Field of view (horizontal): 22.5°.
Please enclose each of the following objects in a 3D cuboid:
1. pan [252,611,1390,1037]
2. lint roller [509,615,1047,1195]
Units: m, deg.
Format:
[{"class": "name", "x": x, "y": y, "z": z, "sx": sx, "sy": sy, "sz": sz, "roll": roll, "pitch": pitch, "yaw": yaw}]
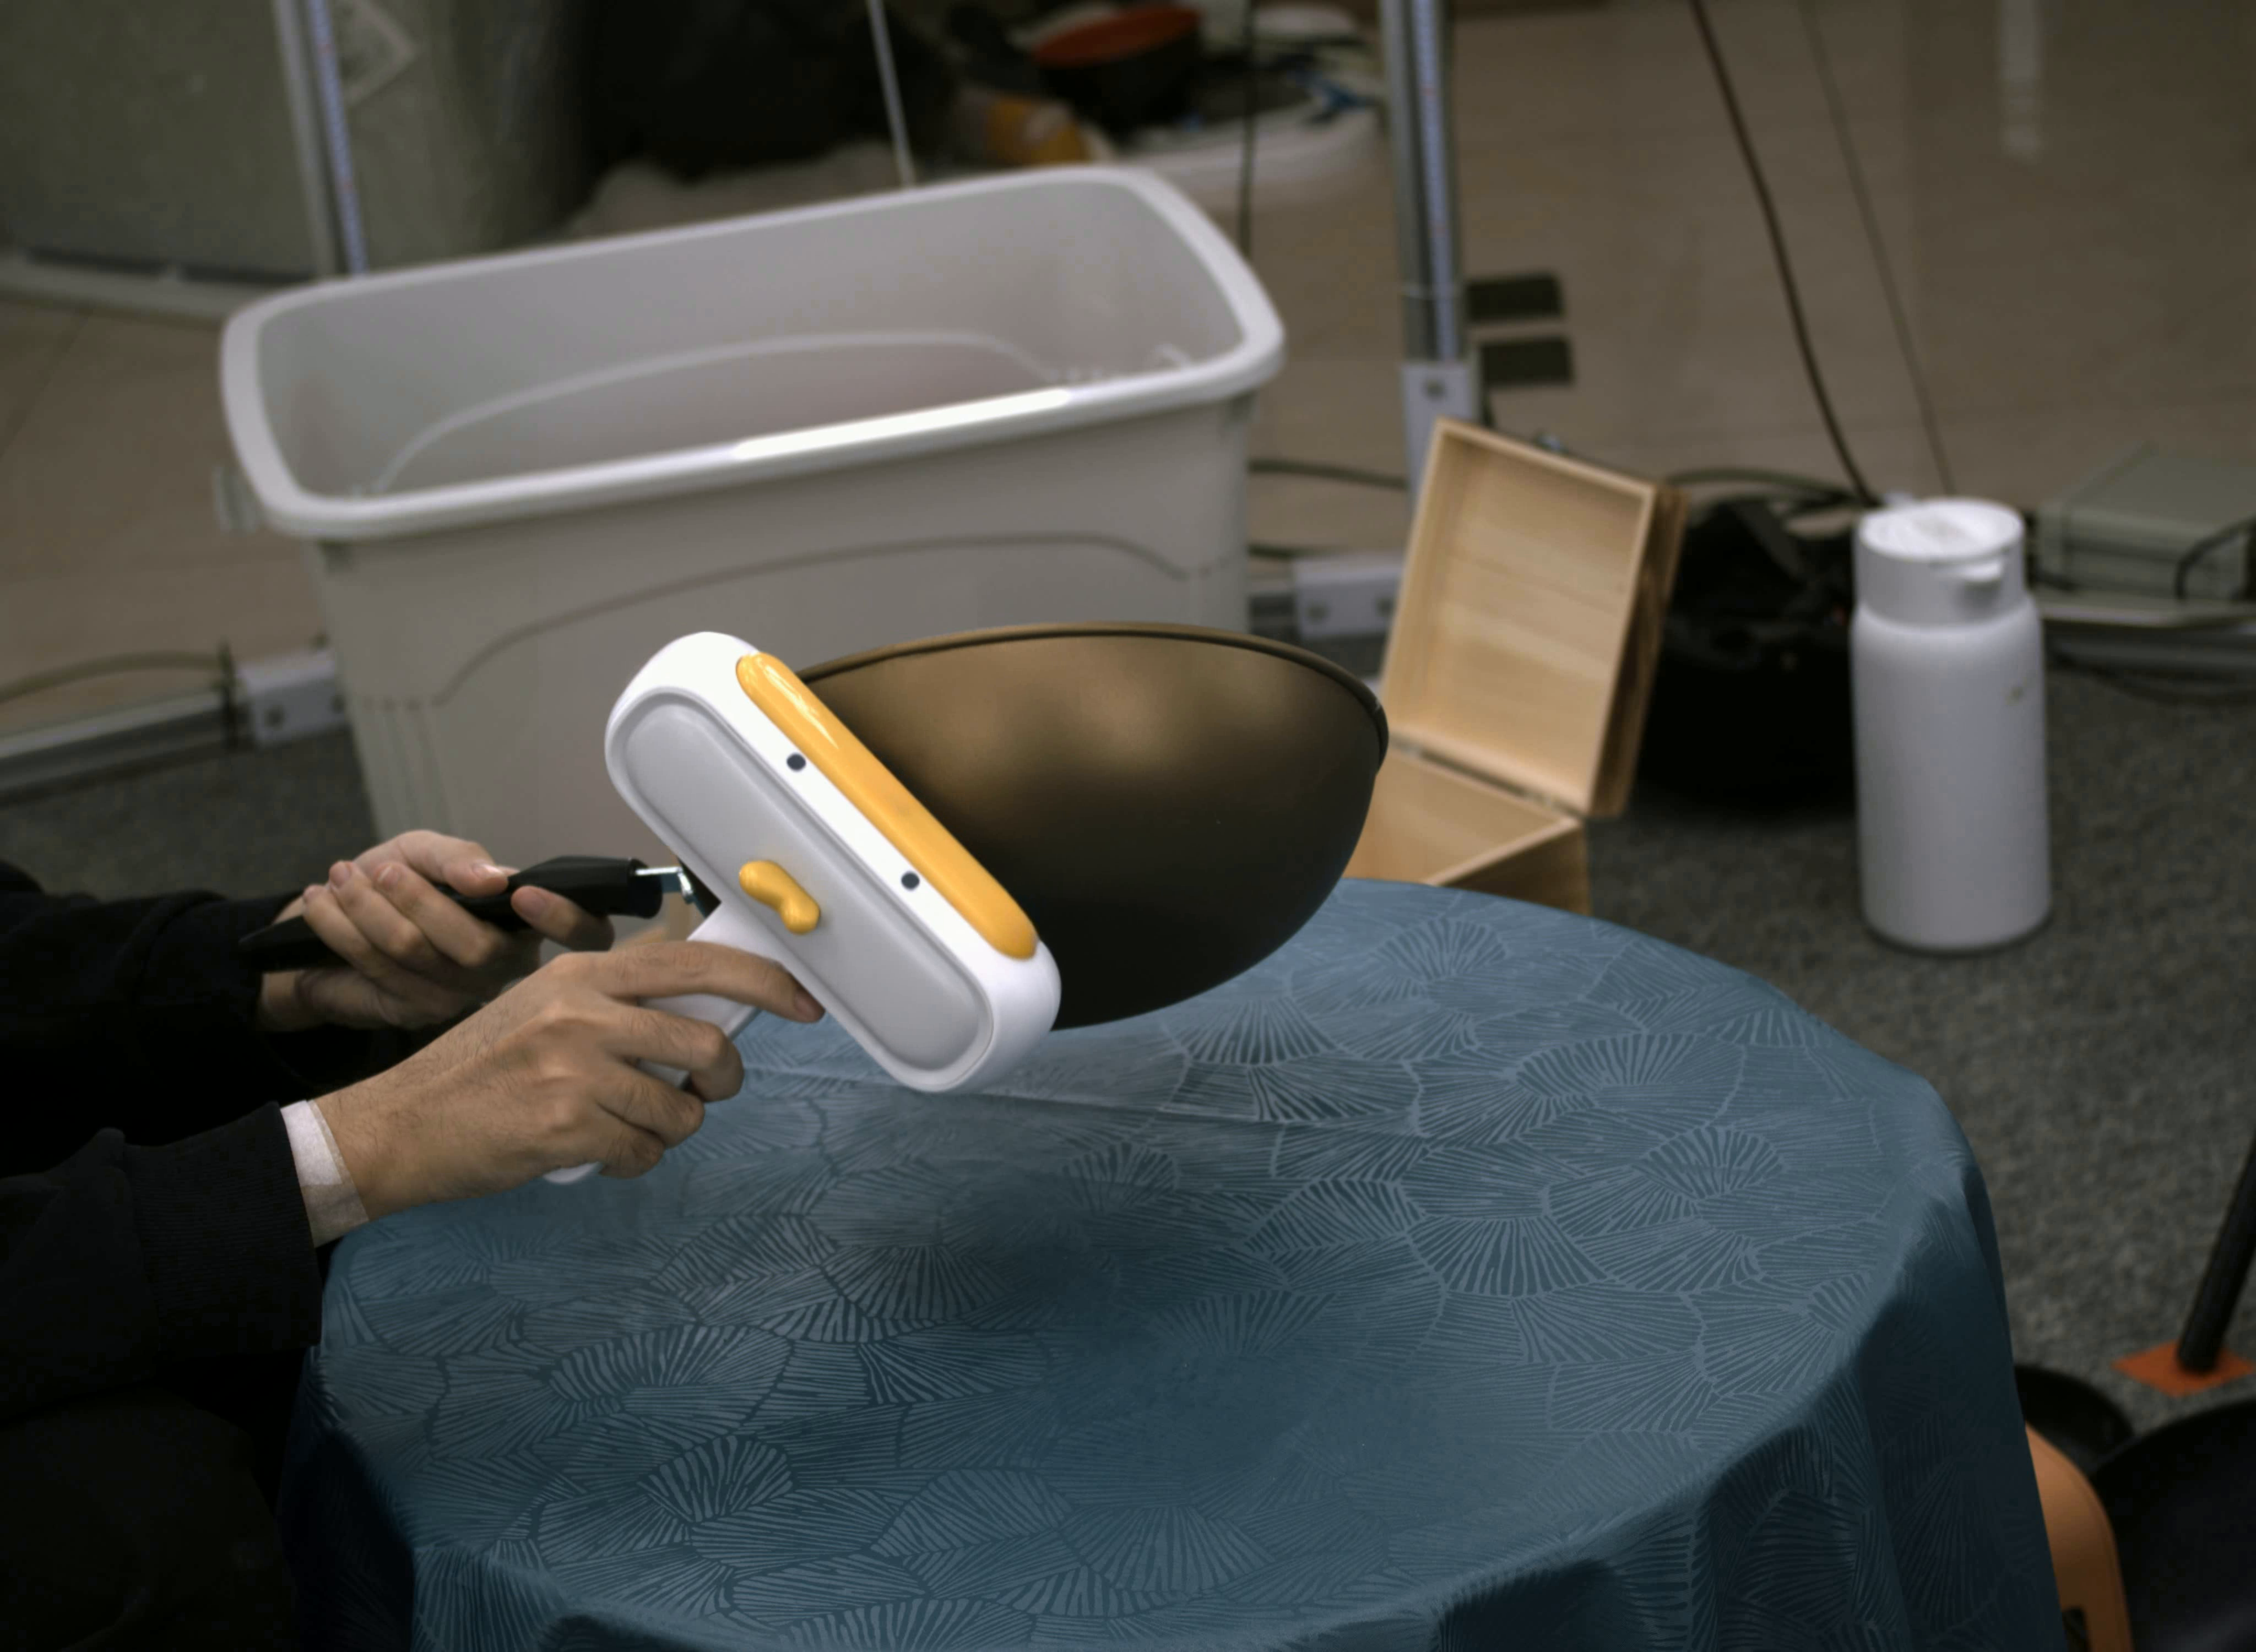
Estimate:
[{"class": "pan", "x": -0.122, "y": 0.032, "z": 2.129, "sx": 0.463, "sy": 0.291, "sz": 0.086, "roll": -12, "pitch": 68, "yaw": 17}, {"class": "lint roller", "x": -0.148, "y": 0.050, "z": 1.998, "sx": 0.193, "sy": 0.194, "sz": 0.073, "roll": 40, "pitch": 23, "yaw": 0}]
